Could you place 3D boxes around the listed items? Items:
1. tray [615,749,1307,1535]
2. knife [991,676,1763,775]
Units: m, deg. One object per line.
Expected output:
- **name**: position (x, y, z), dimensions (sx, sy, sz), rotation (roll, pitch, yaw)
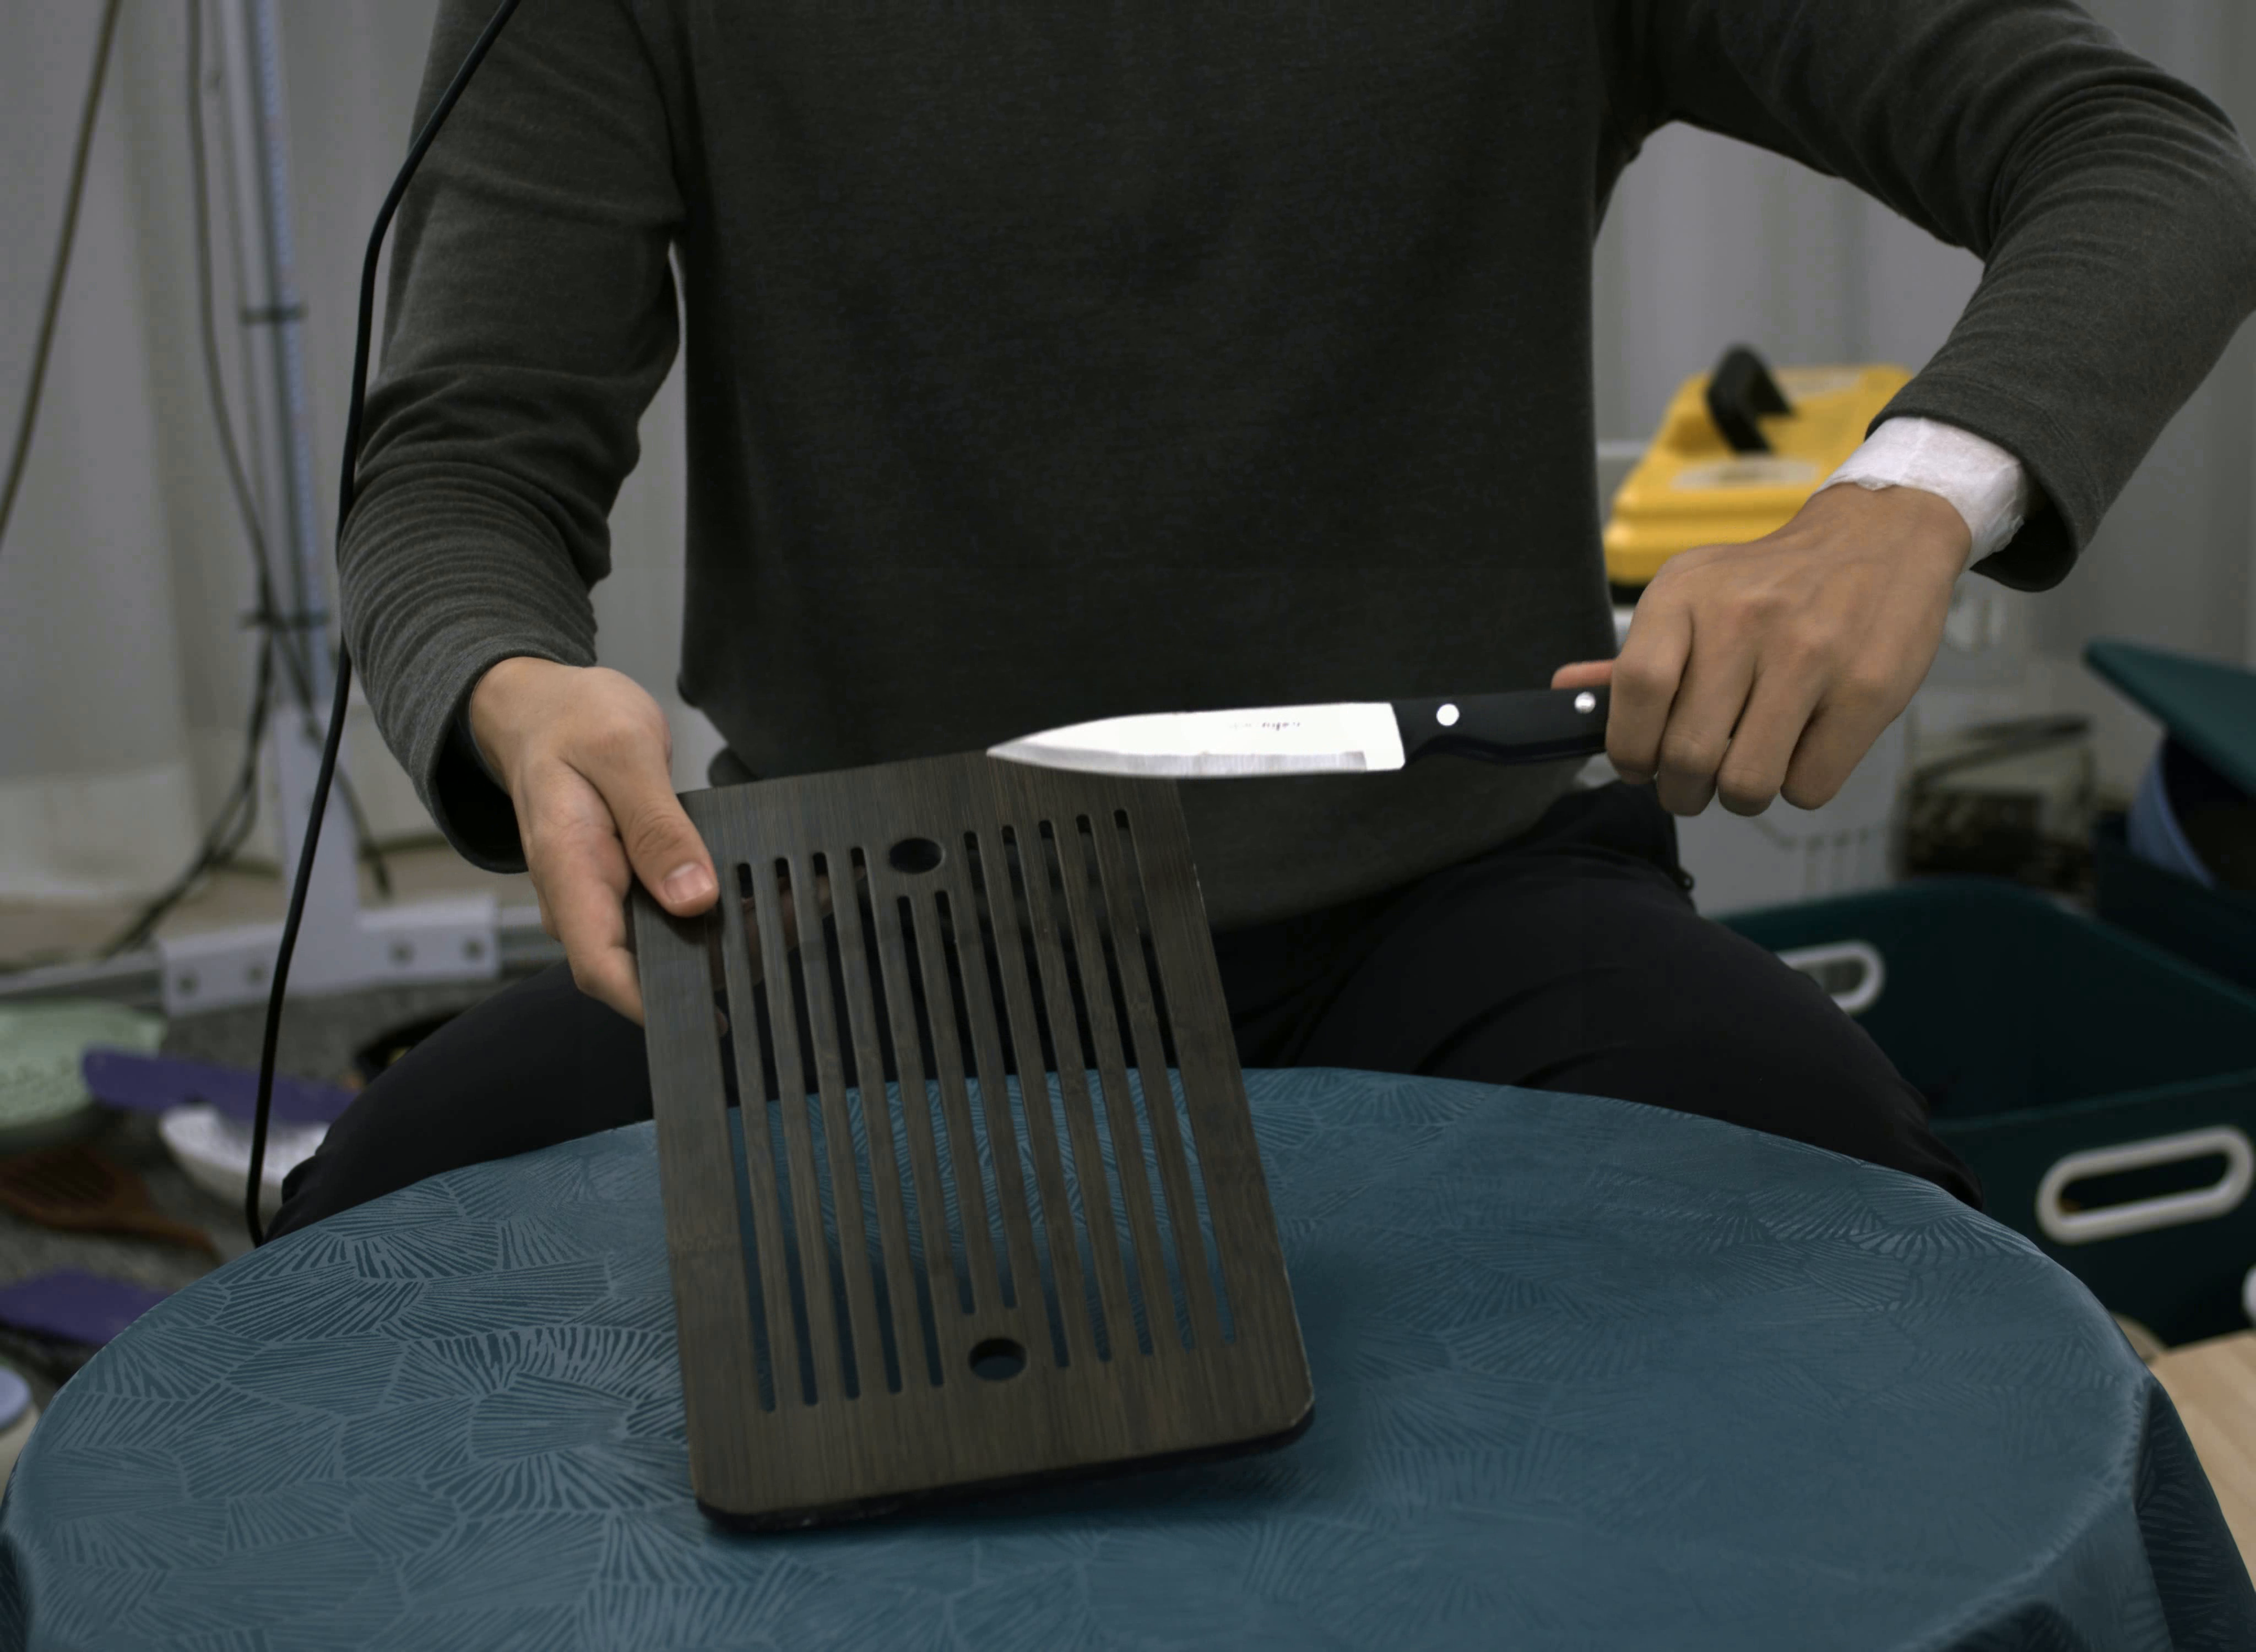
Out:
- **tray**: position (-0.054, 0.084, 1.573), dimensions (0.169, 0.018, 0.310), rotation (-8, 39, -3)
- **knife**: position (0.075, -0.030, 1.647), dimensions (0.237, 0.025, 0.016), rotation (-3, -21, -10)
